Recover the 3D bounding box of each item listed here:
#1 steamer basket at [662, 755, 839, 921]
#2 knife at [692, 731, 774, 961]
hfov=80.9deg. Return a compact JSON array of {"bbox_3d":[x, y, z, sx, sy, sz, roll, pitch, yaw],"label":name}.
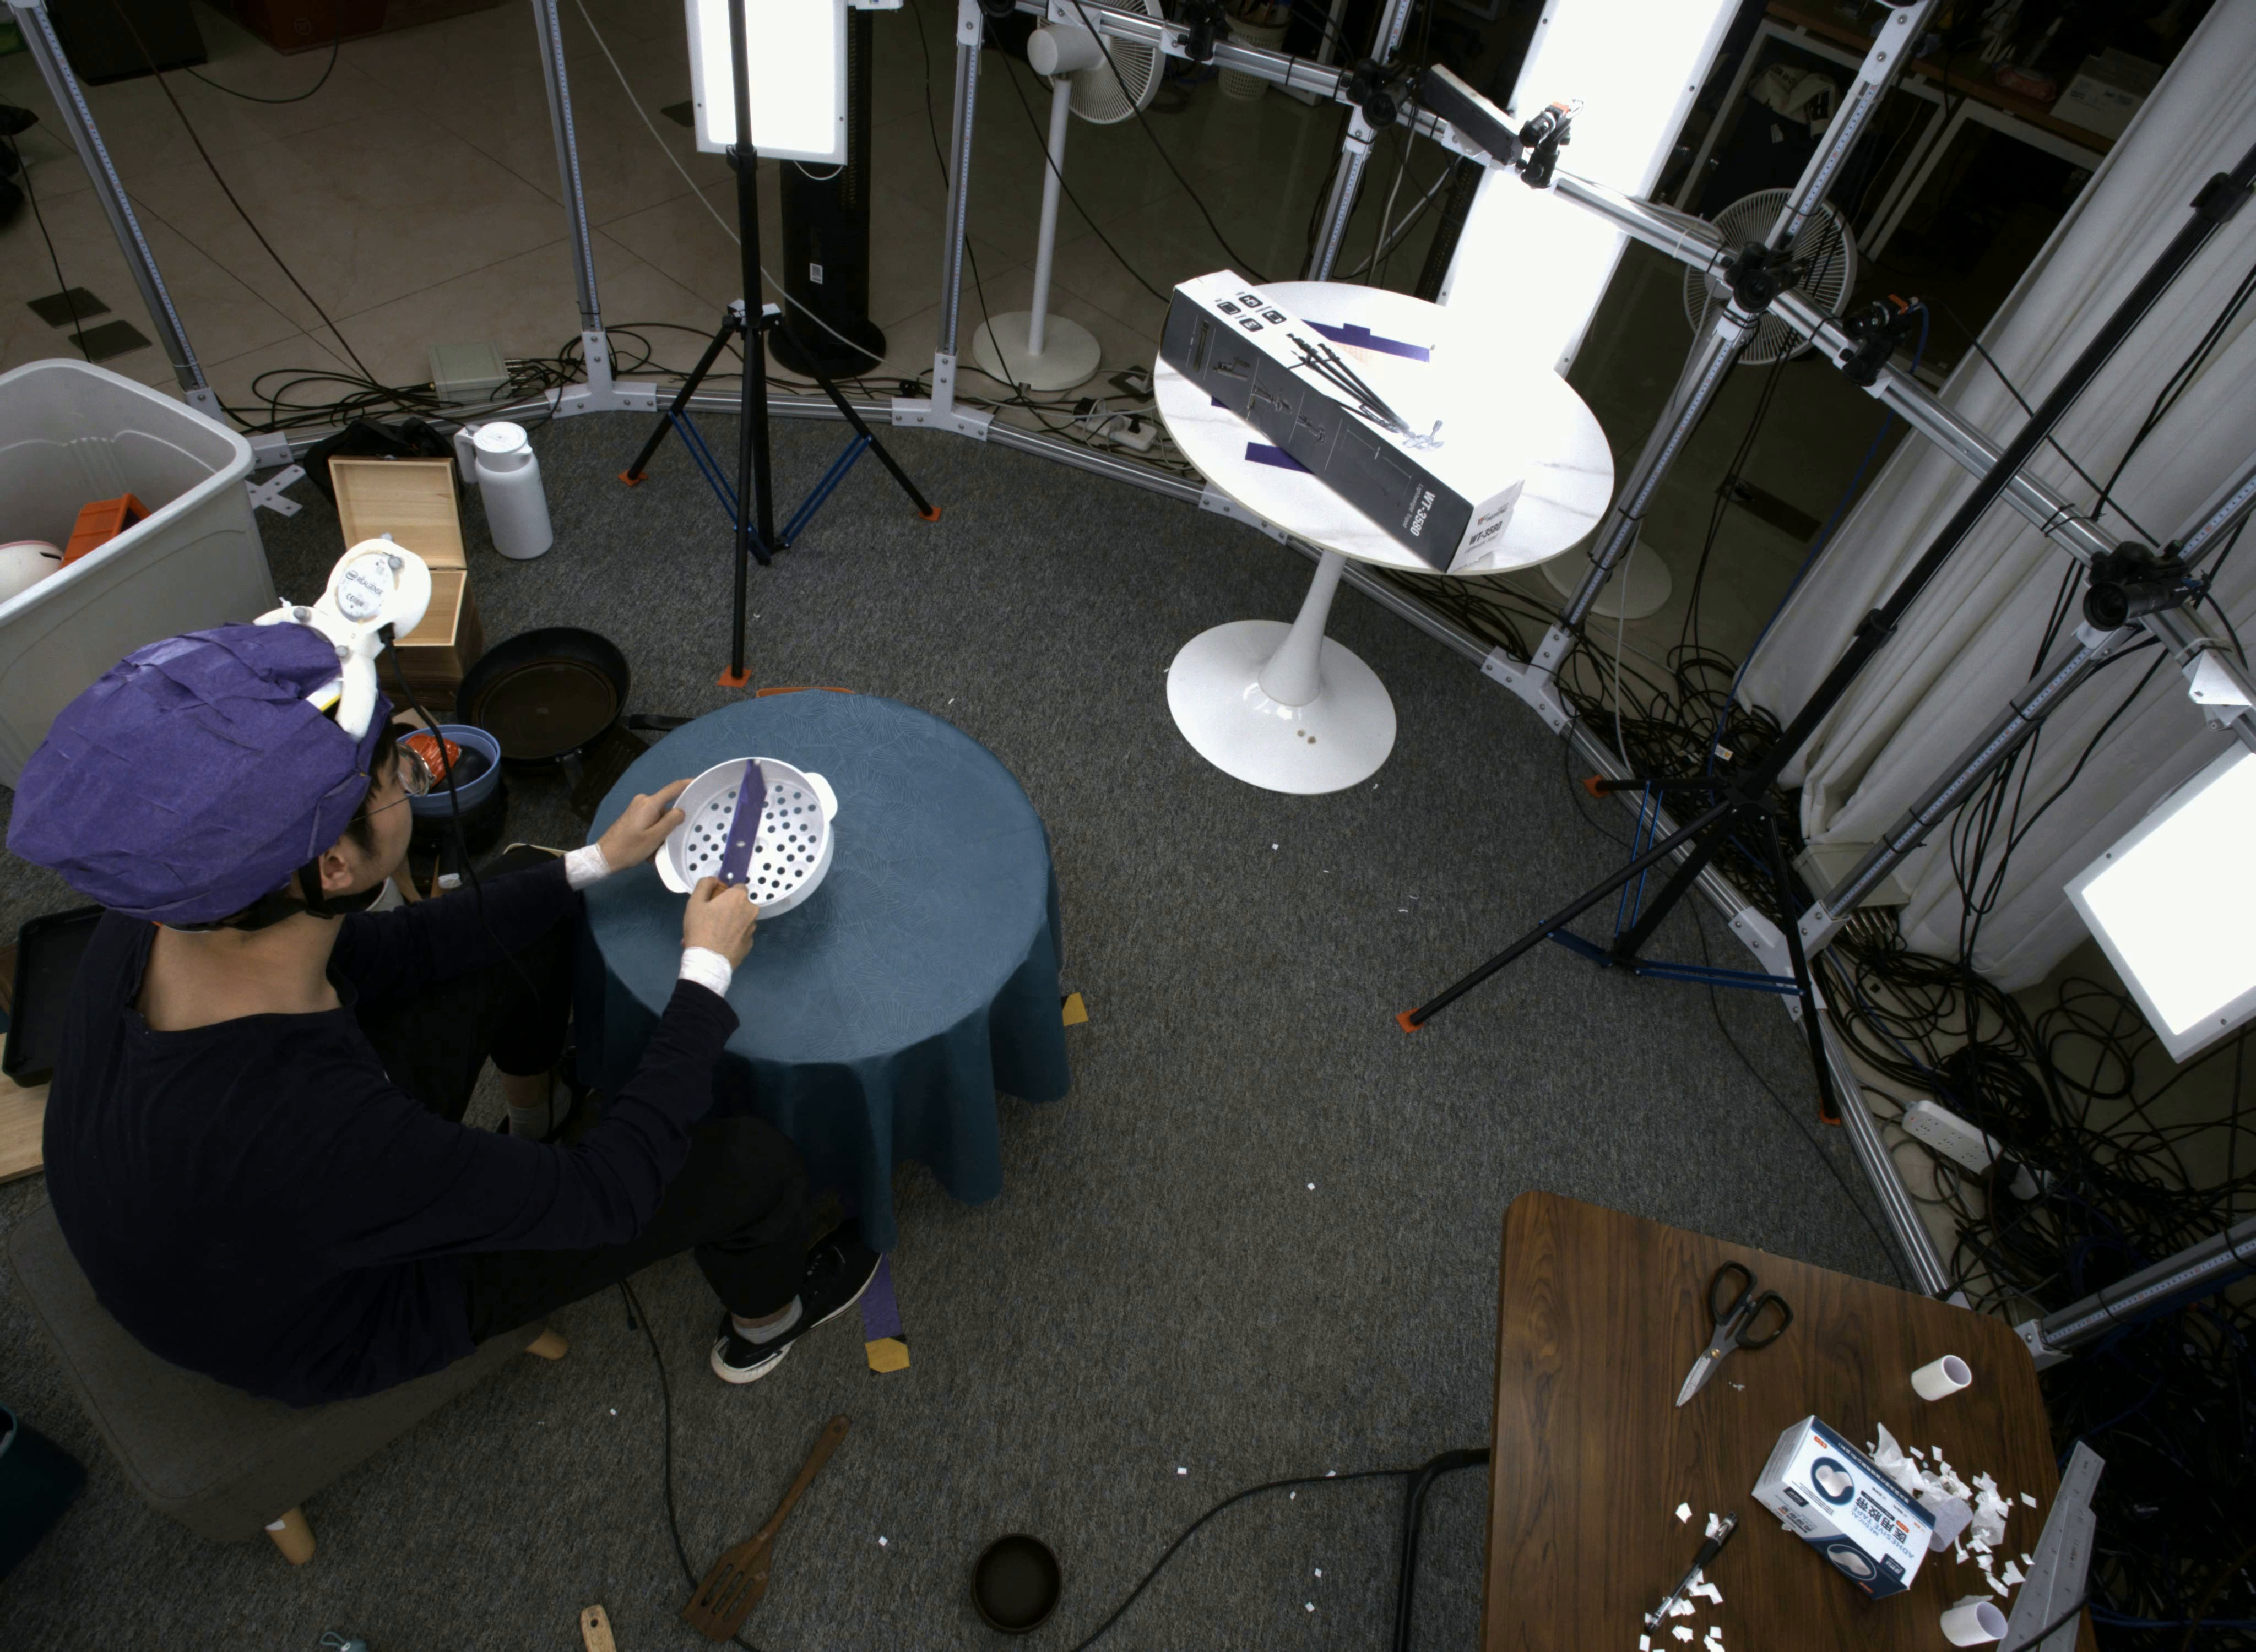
[{"bbox_3d":[-0.460,0.015,1.608,0.230,0.070,0.199,-28,73,-9],"label":"steamer basket"},{"bbox_3d":[-0.453,0.036,1.512,0.032,0.107,0.309,1,51,2],"label":"knife"}]
